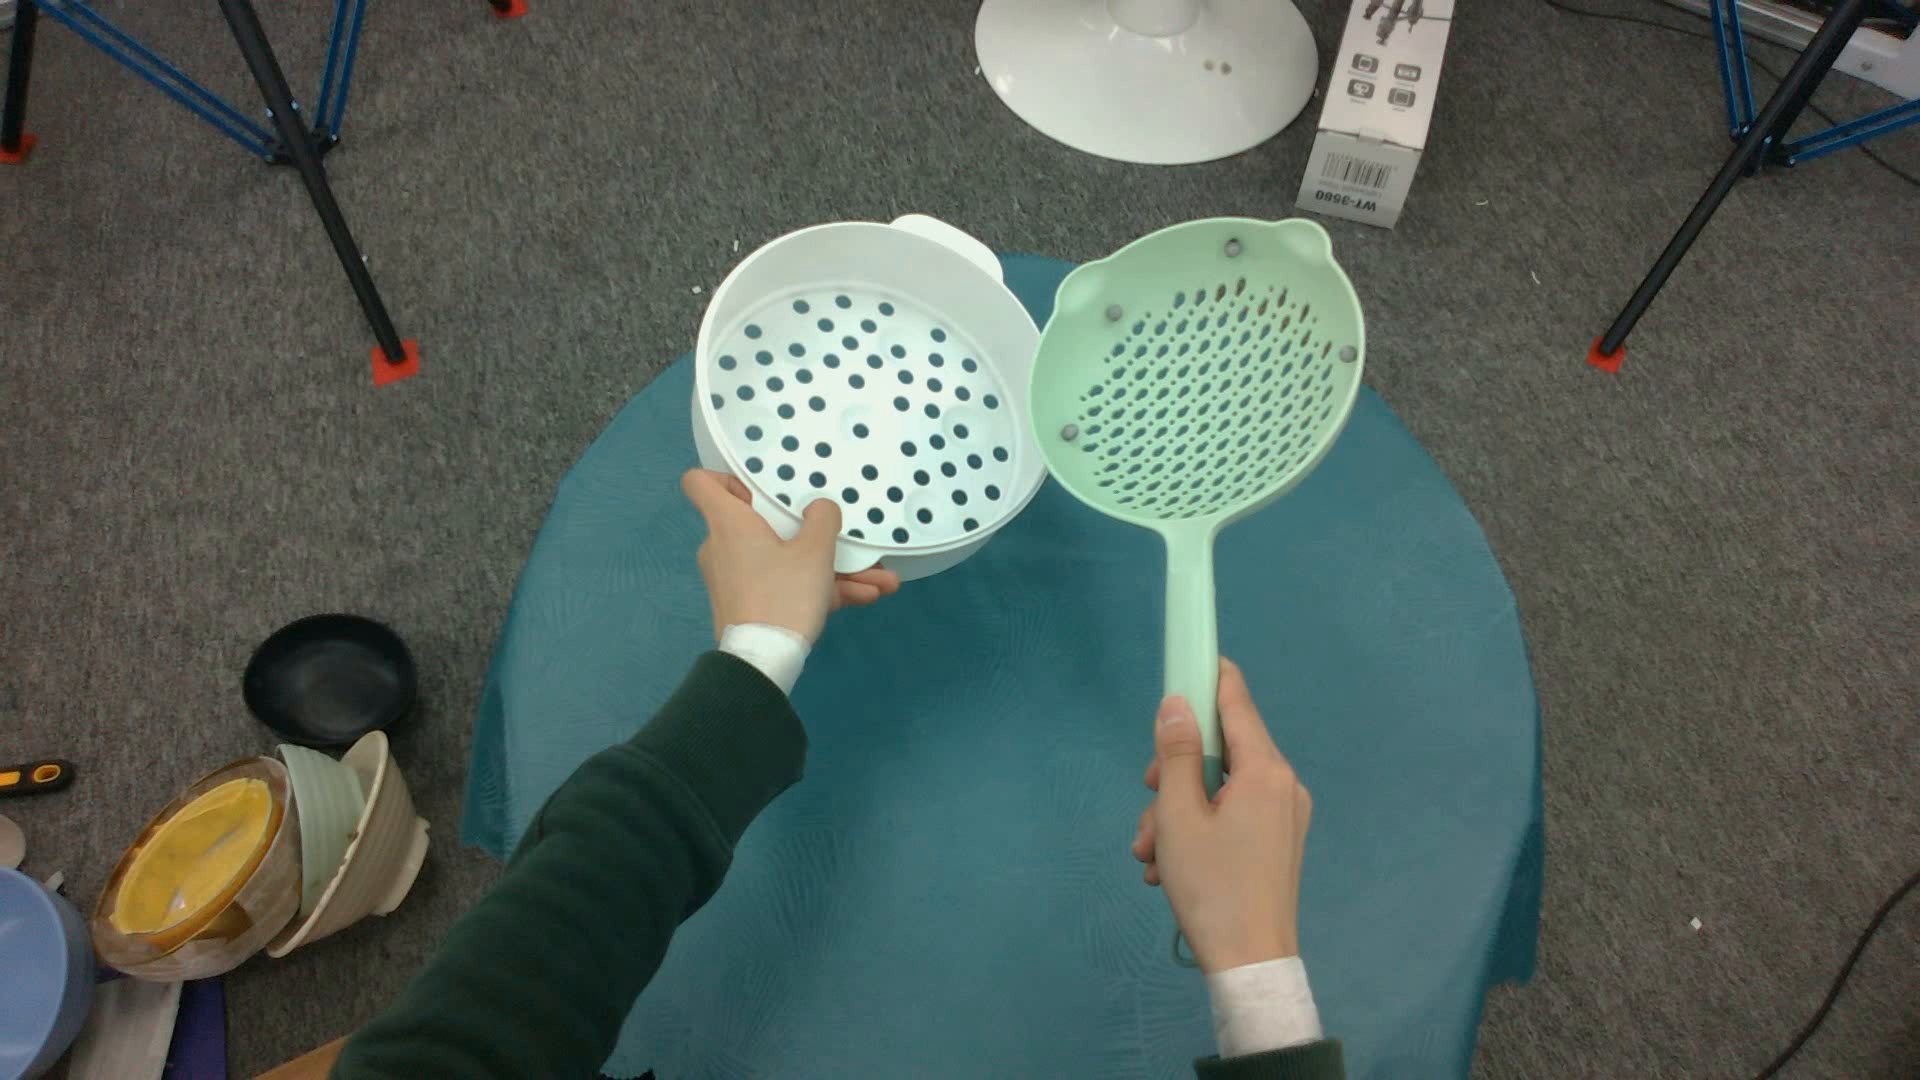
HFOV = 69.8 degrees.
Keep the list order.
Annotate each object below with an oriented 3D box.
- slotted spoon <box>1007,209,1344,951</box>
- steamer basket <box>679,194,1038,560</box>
[{"bbox_3d":[0.102,0.002,0.646,0.169,0.075,0.360,-8,56,23],"label":"slotted spoon"},{"bbox_3d":[-0.055,-0.086,0.764,0.202,0.069,0.231,22,61,-6],"label":"steamer basket"}]
